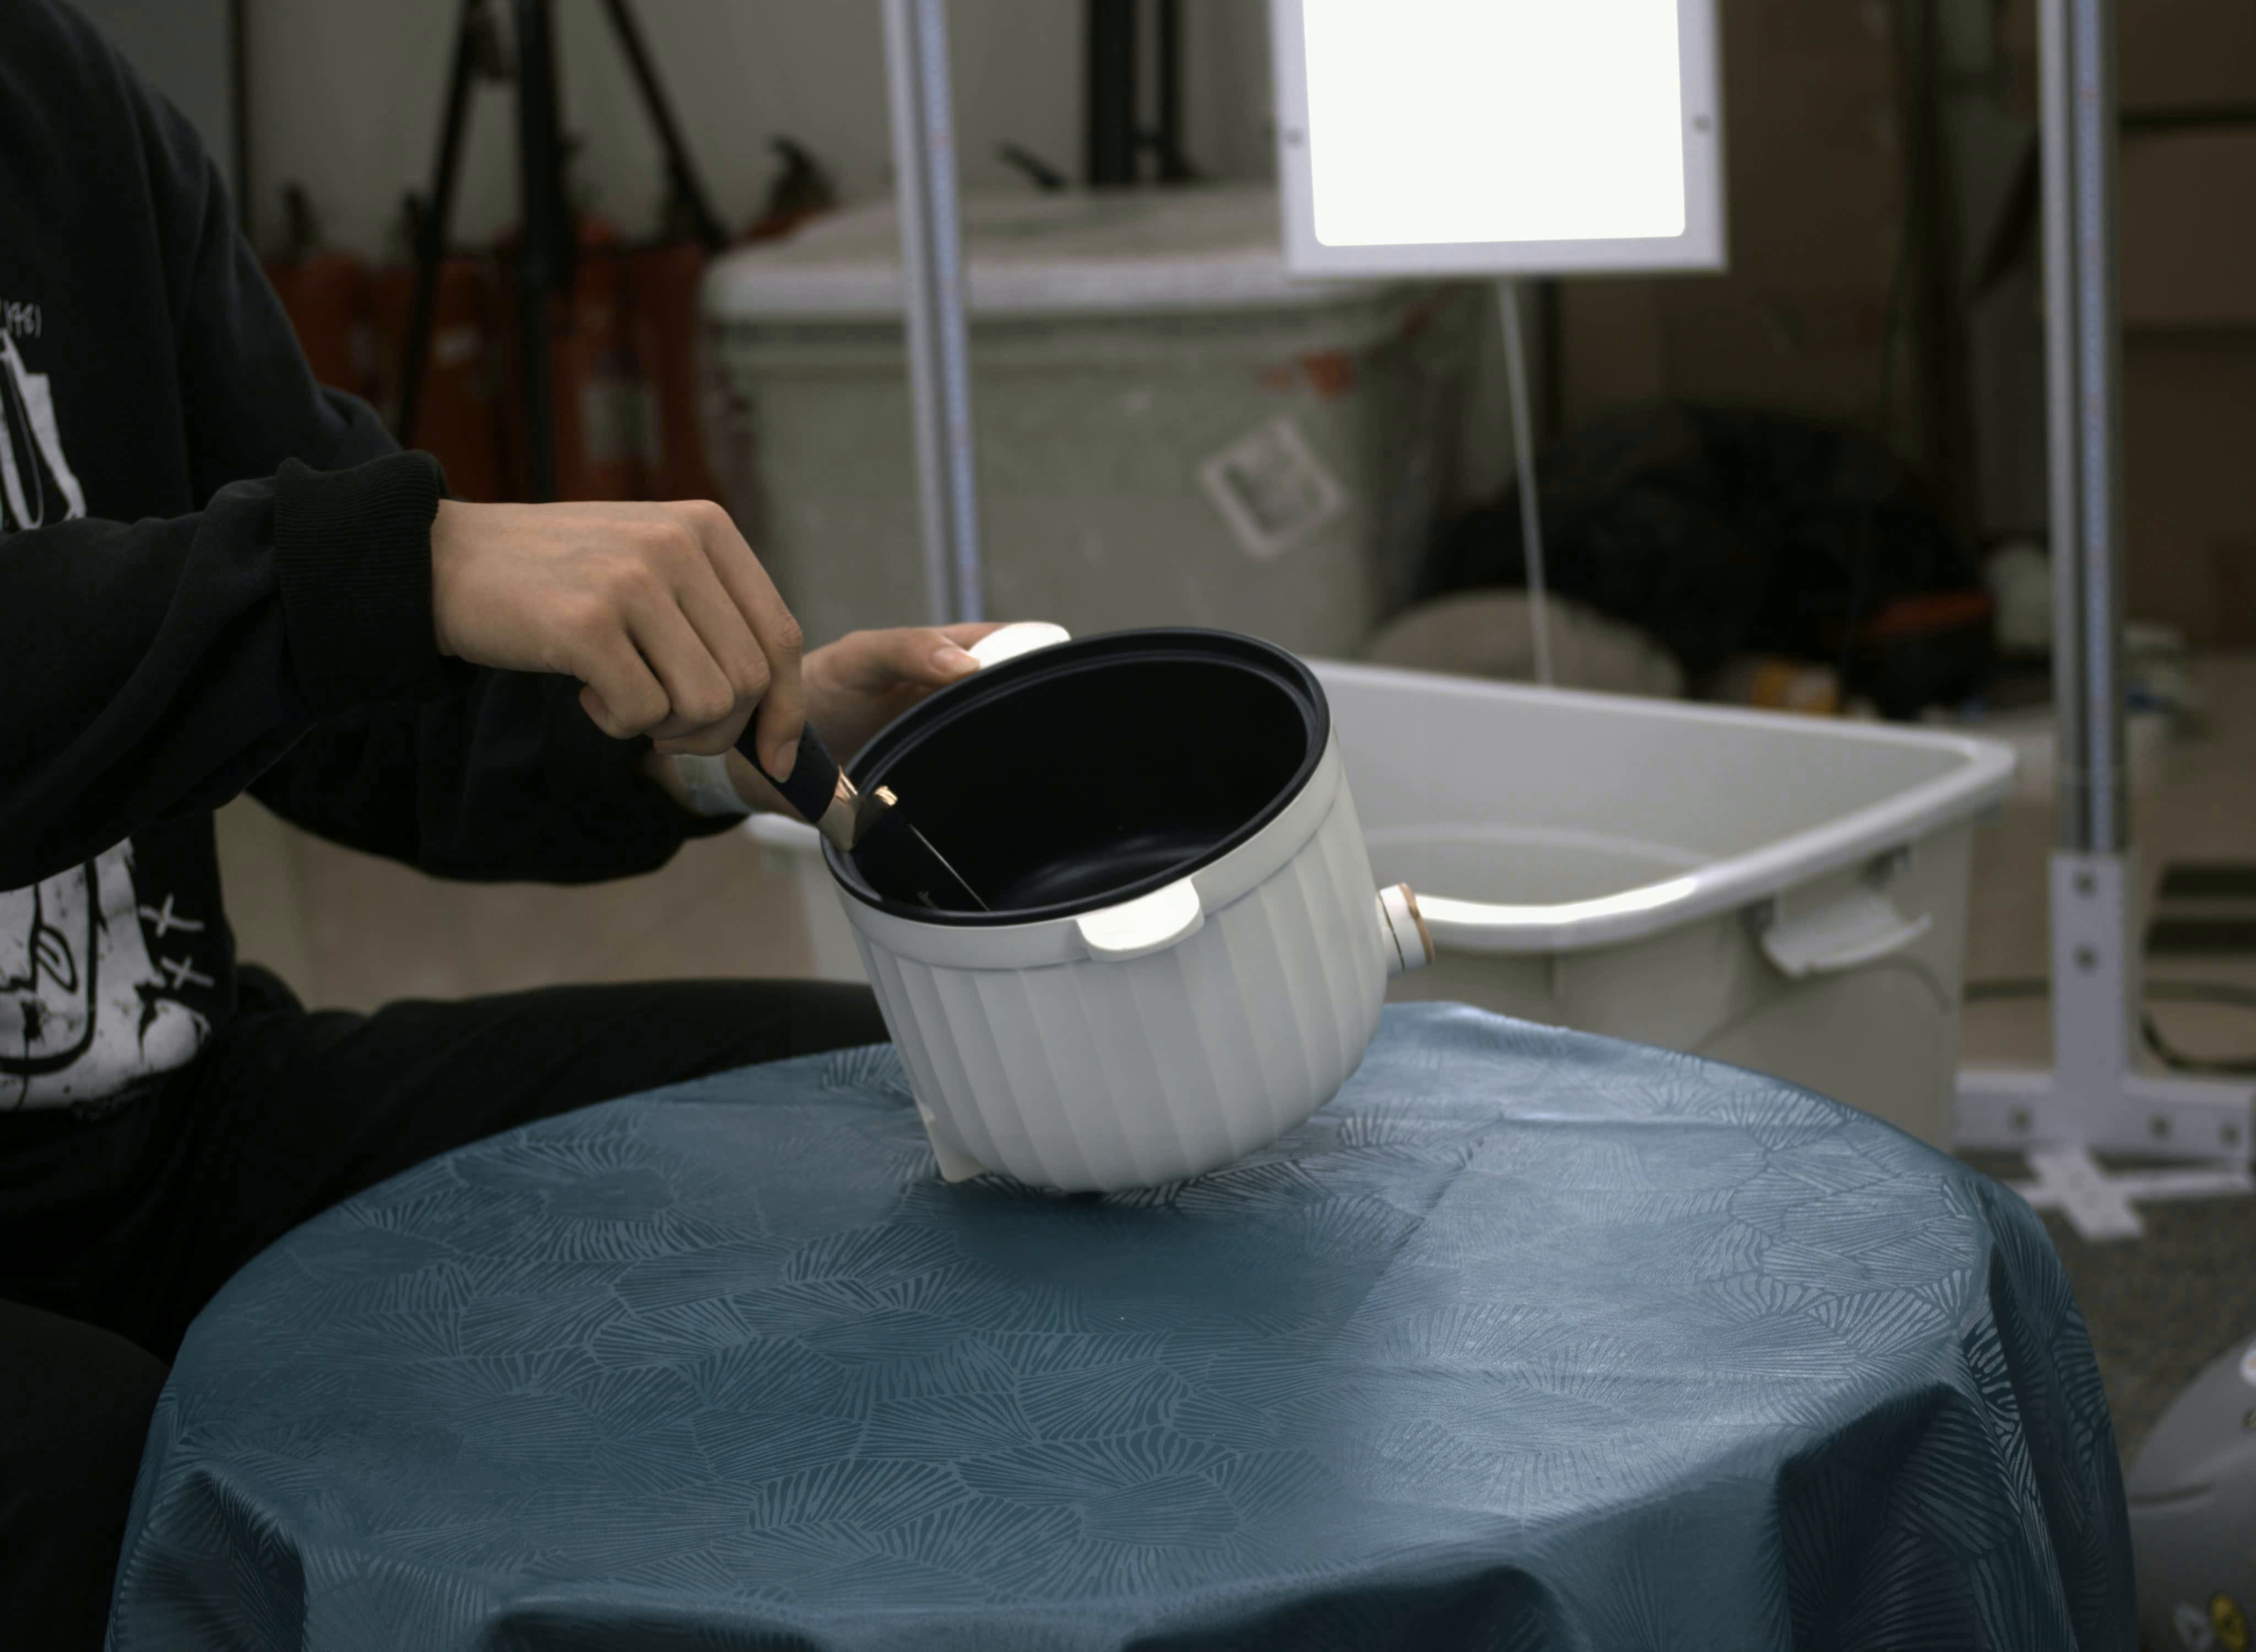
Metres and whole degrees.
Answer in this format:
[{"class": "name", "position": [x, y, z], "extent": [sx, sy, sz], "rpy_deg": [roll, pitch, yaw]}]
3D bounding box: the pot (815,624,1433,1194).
[{"class": "pot", "position": [0.002, 0.032, 1.914], "extent": [0.190, 0.142, 0.242], "rpy_deg": [-23, 31, -1]}]

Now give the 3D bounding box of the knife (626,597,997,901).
[{"class": "knife", "position": [-0.086, 0.000, 1.842], "extent": [0.026, 0.223, 0.017], "rpy_deg": [-51, 23, -12]}]
